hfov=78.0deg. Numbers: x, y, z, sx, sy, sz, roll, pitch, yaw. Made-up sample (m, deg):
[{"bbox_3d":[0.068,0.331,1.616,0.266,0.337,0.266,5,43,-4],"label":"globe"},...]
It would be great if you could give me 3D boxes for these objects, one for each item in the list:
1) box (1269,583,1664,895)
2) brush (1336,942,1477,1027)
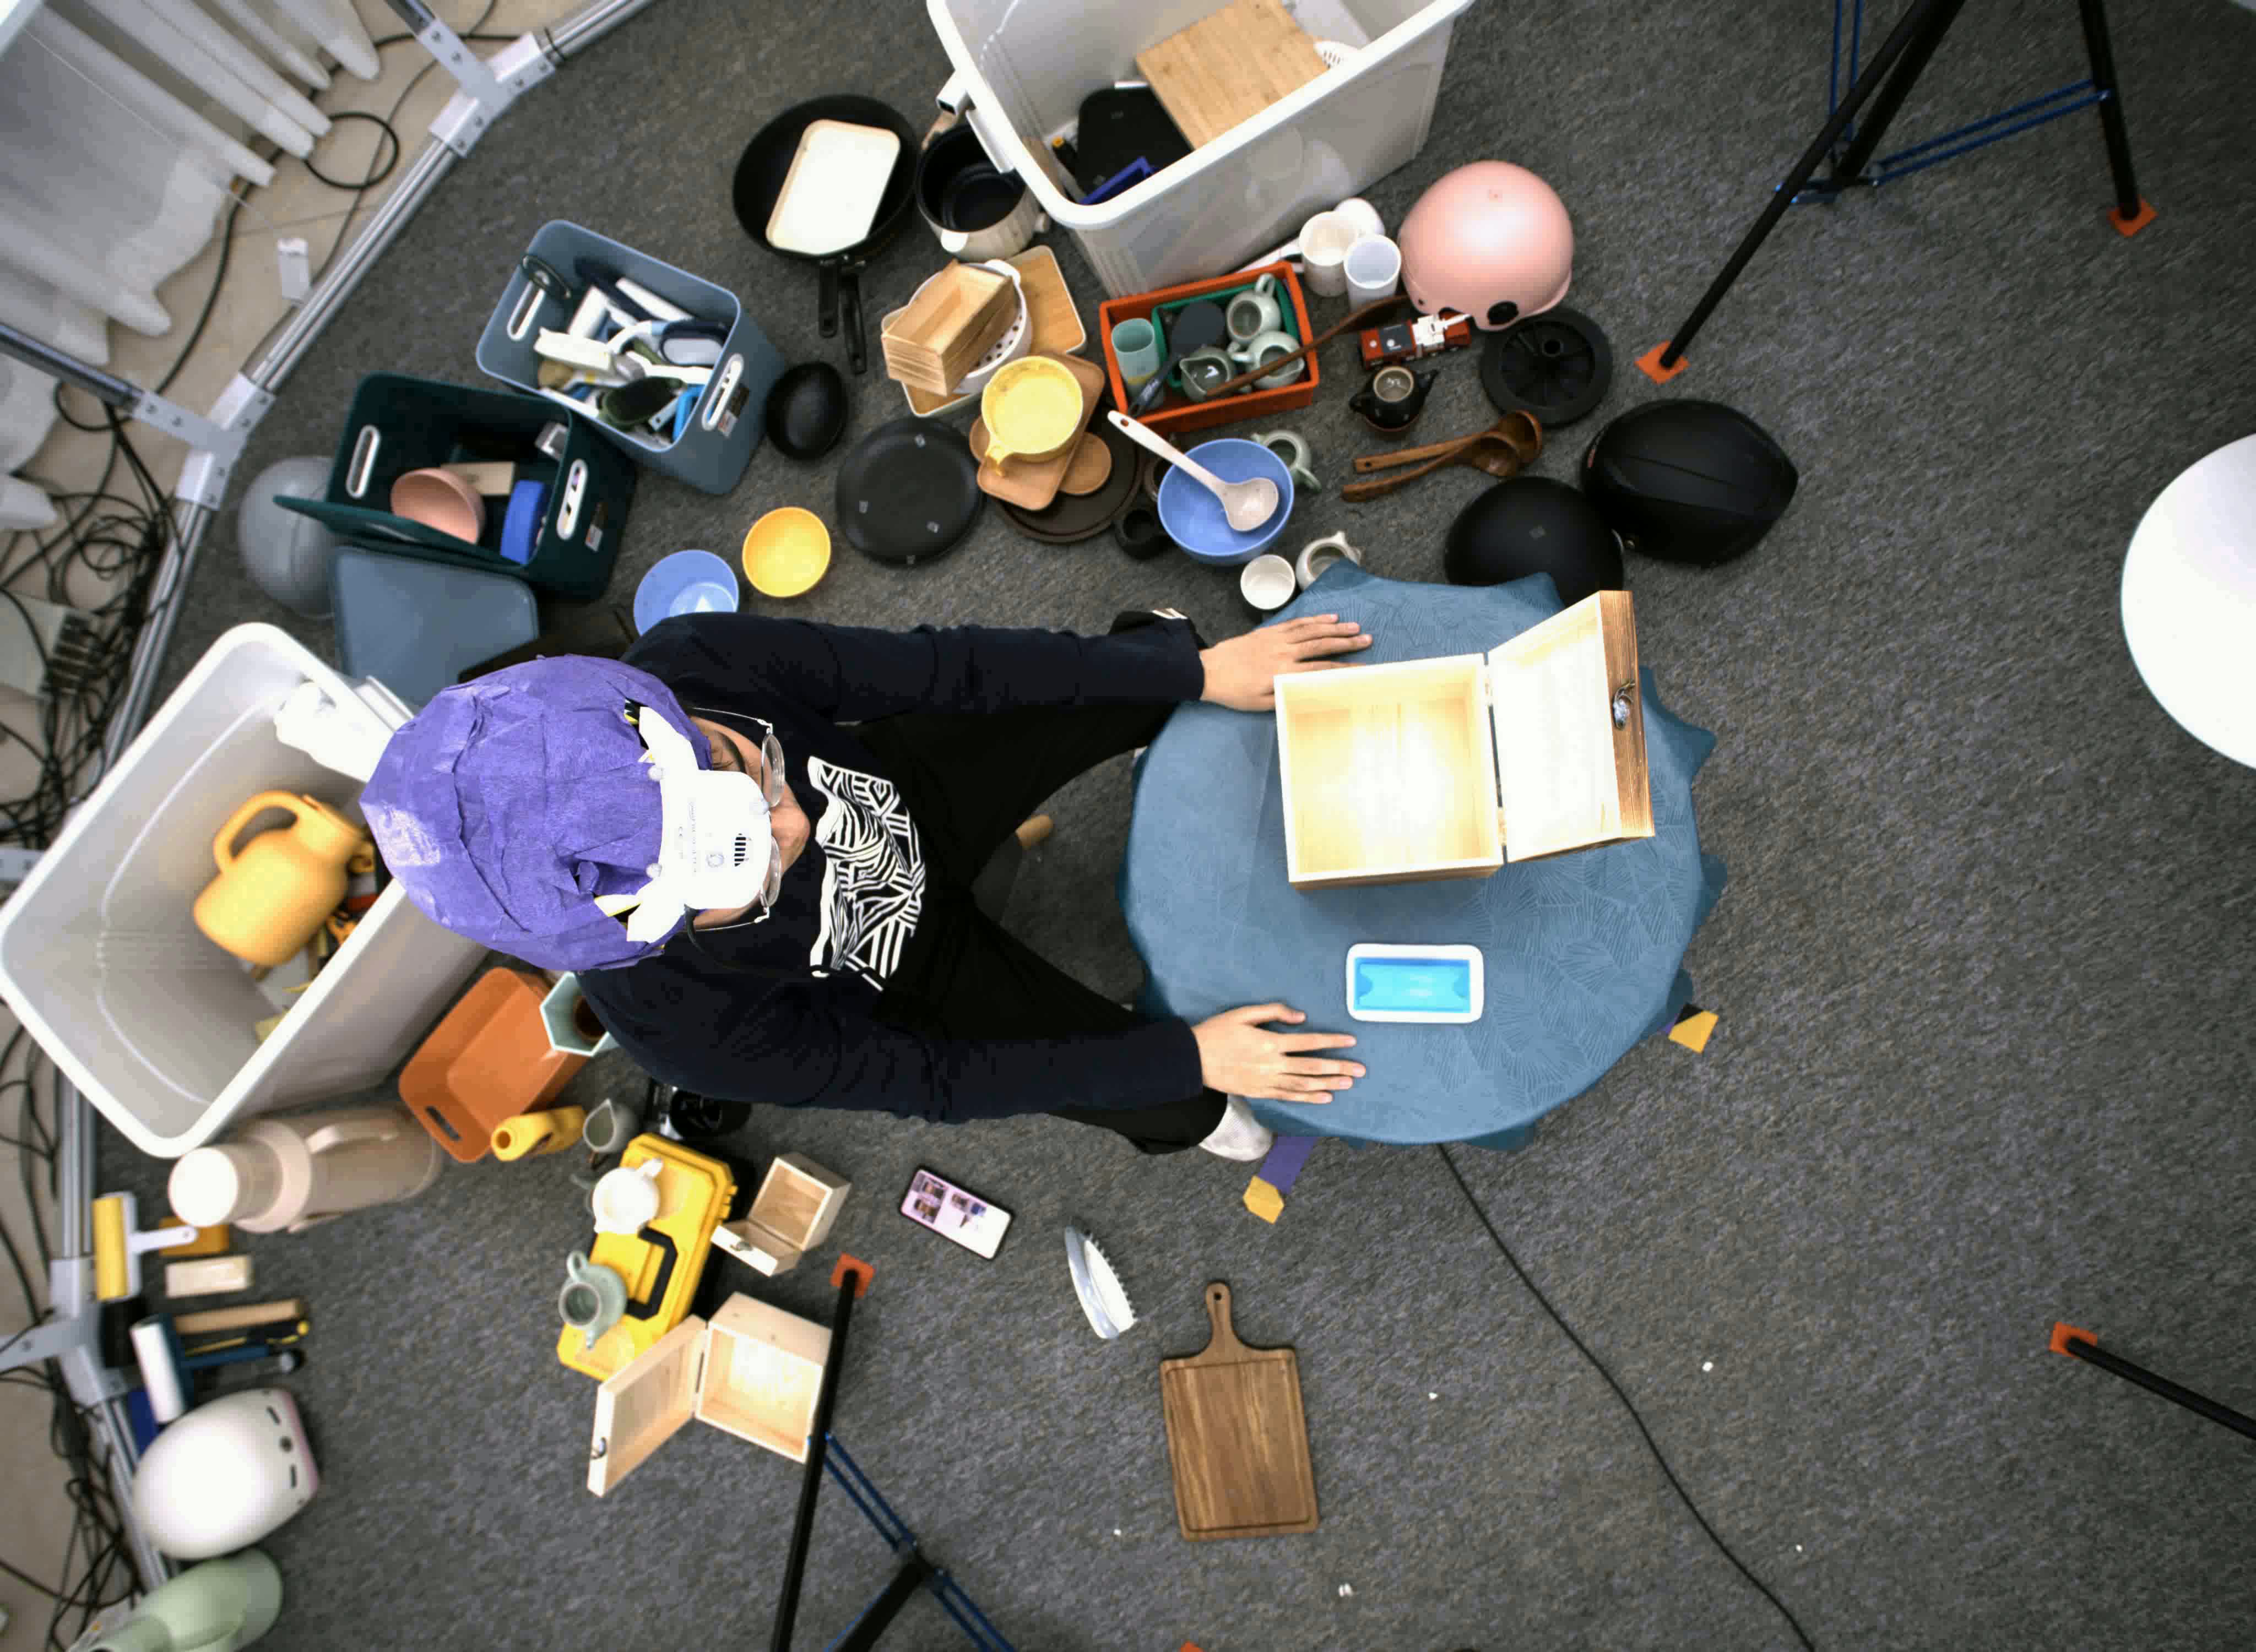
[{"bbox_3d":[0.292,-0.064,1.279,0.323,0.376,0.207,-5,83,10],"label":"box"},{"bbox_3d":[0.287,0.161,1.420,0.144,0.056,0.083,3,84,8],"label":"brush"}]
